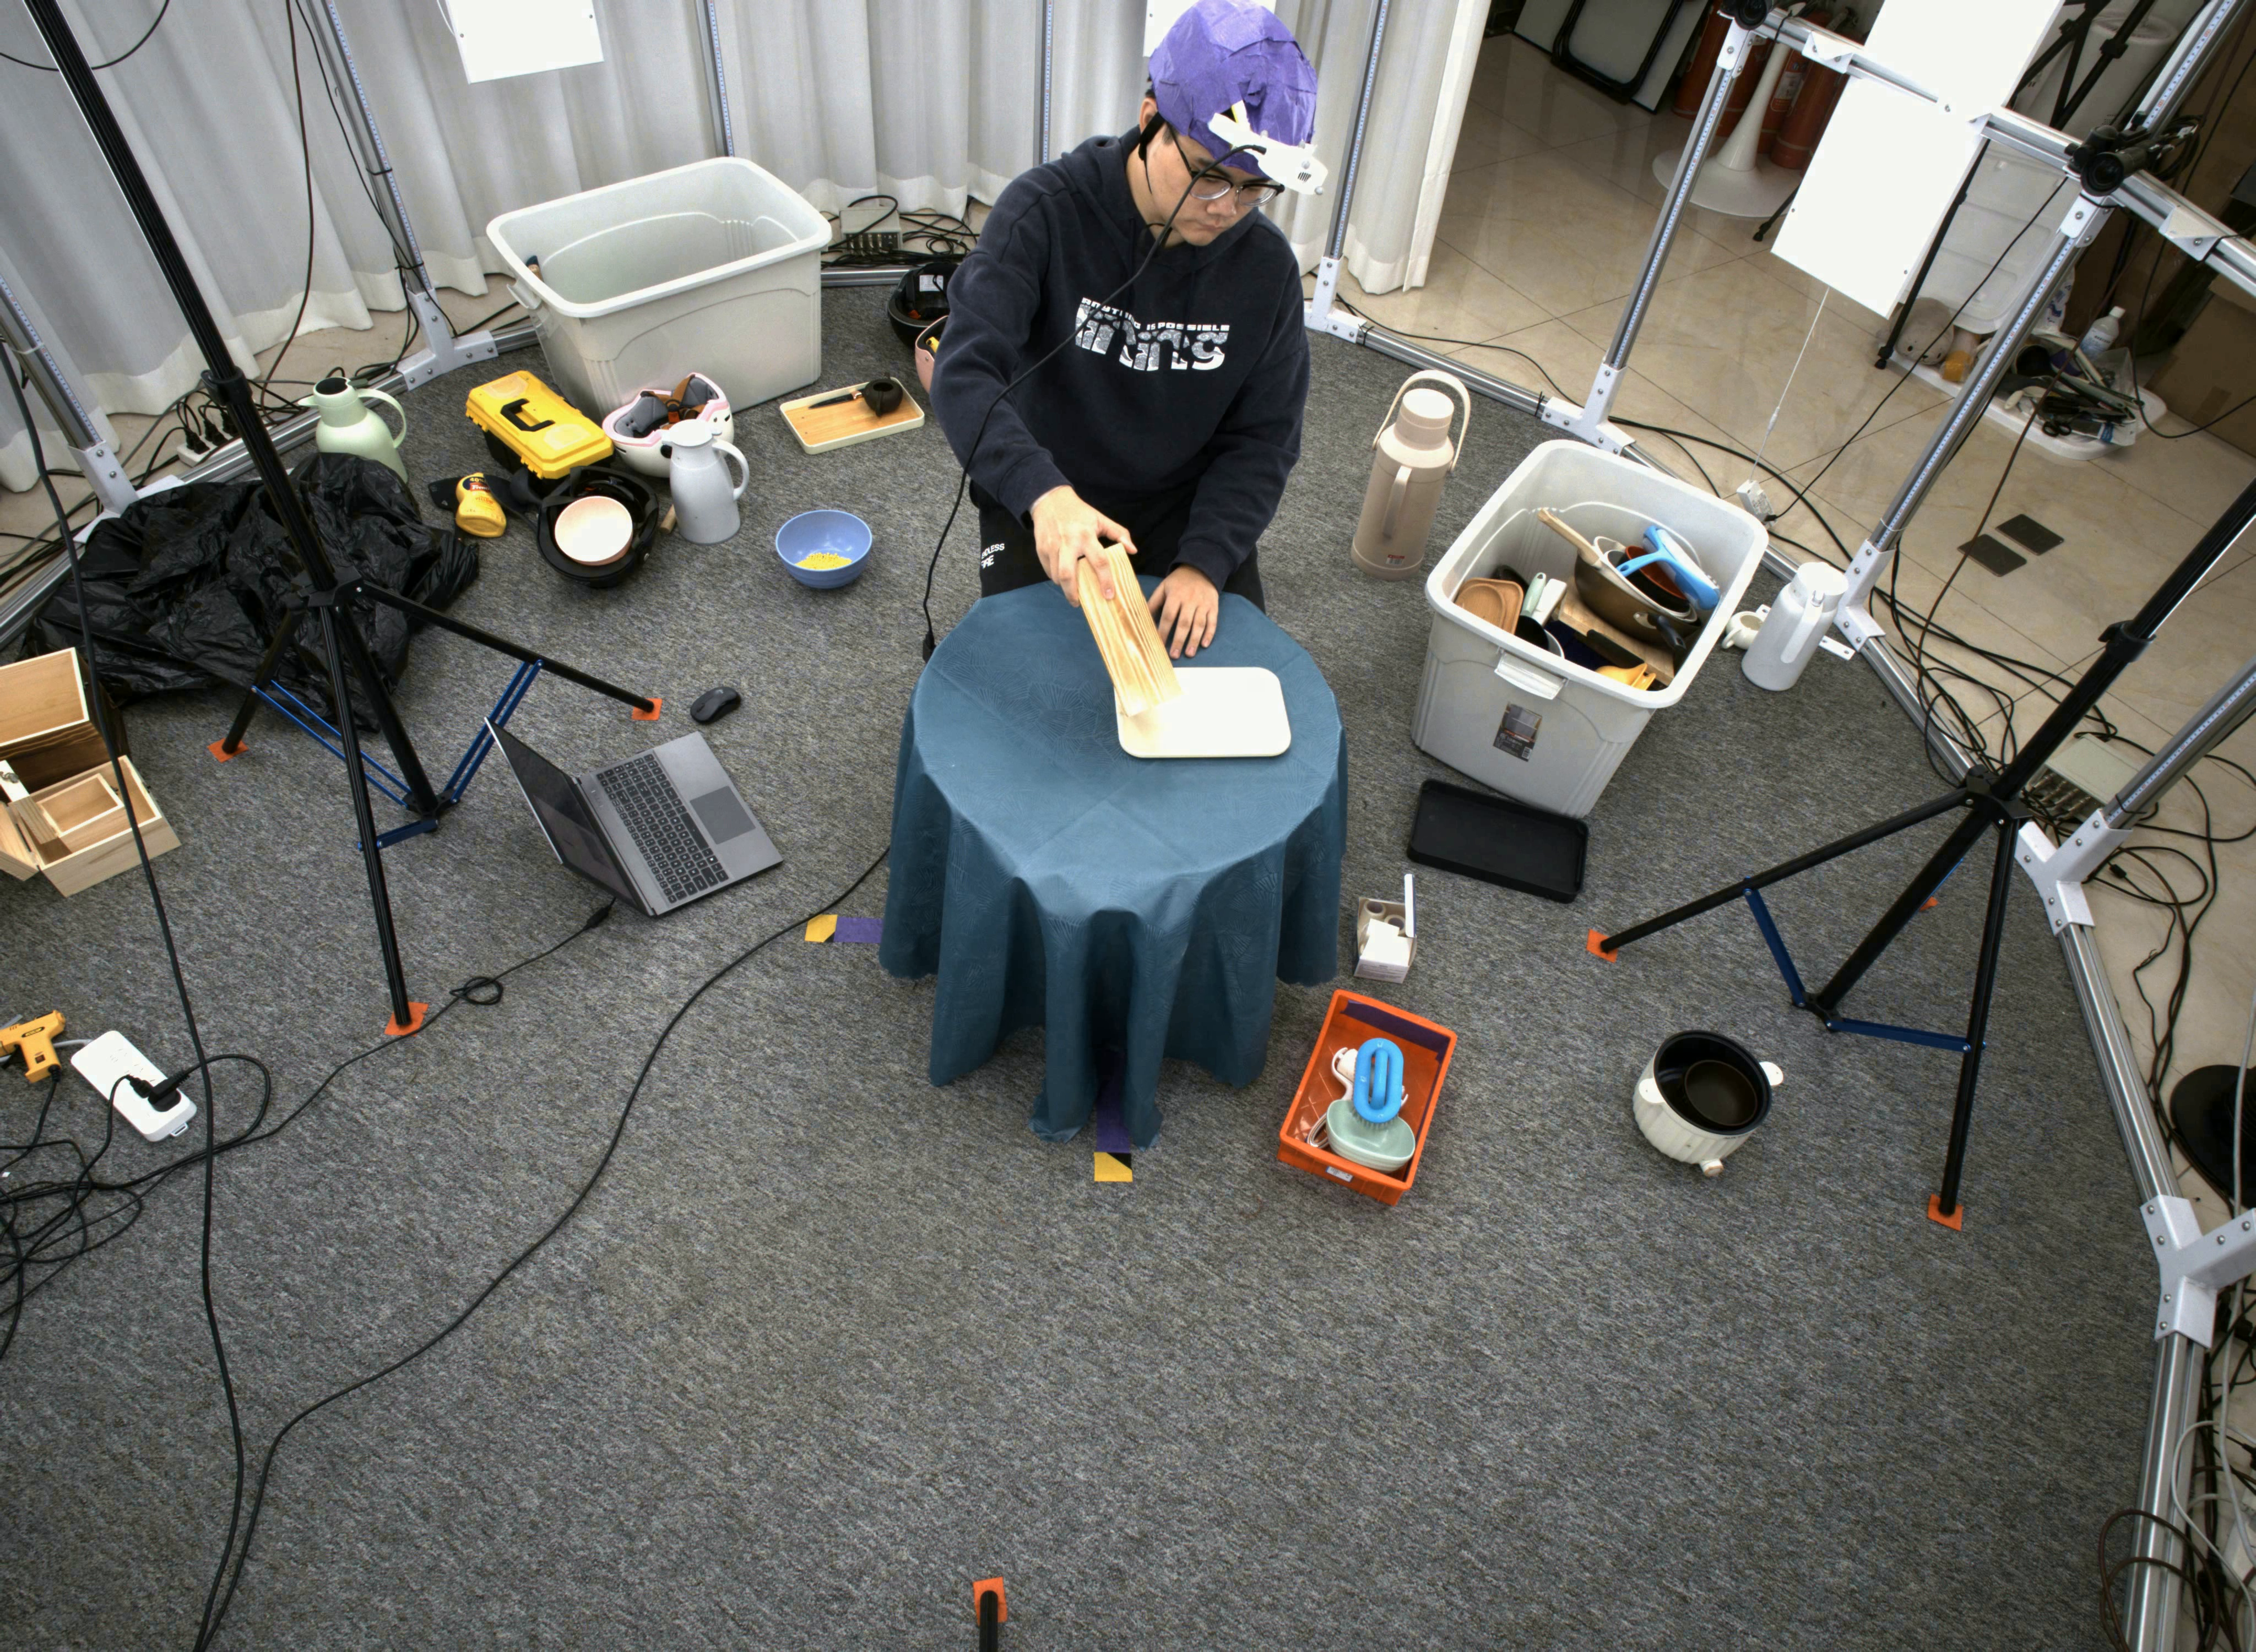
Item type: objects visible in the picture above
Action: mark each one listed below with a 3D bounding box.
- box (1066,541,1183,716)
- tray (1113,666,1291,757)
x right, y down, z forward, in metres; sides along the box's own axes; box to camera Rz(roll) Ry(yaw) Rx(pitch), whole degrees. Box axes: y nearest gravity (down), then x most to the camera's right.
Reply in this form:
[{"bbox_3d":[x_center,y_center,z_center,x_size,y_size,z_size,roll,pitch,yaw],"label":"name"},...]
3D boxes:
[{"bbox_3d":[-0.007,-0.261,1.701,0.080,0.210,0.108,-22,7,1],"label":"box"},{"bbox_3d":[0.102,-0.160,1.801,0.239,0.017,0.175,-1,48,-5],"label":"tray"}]
